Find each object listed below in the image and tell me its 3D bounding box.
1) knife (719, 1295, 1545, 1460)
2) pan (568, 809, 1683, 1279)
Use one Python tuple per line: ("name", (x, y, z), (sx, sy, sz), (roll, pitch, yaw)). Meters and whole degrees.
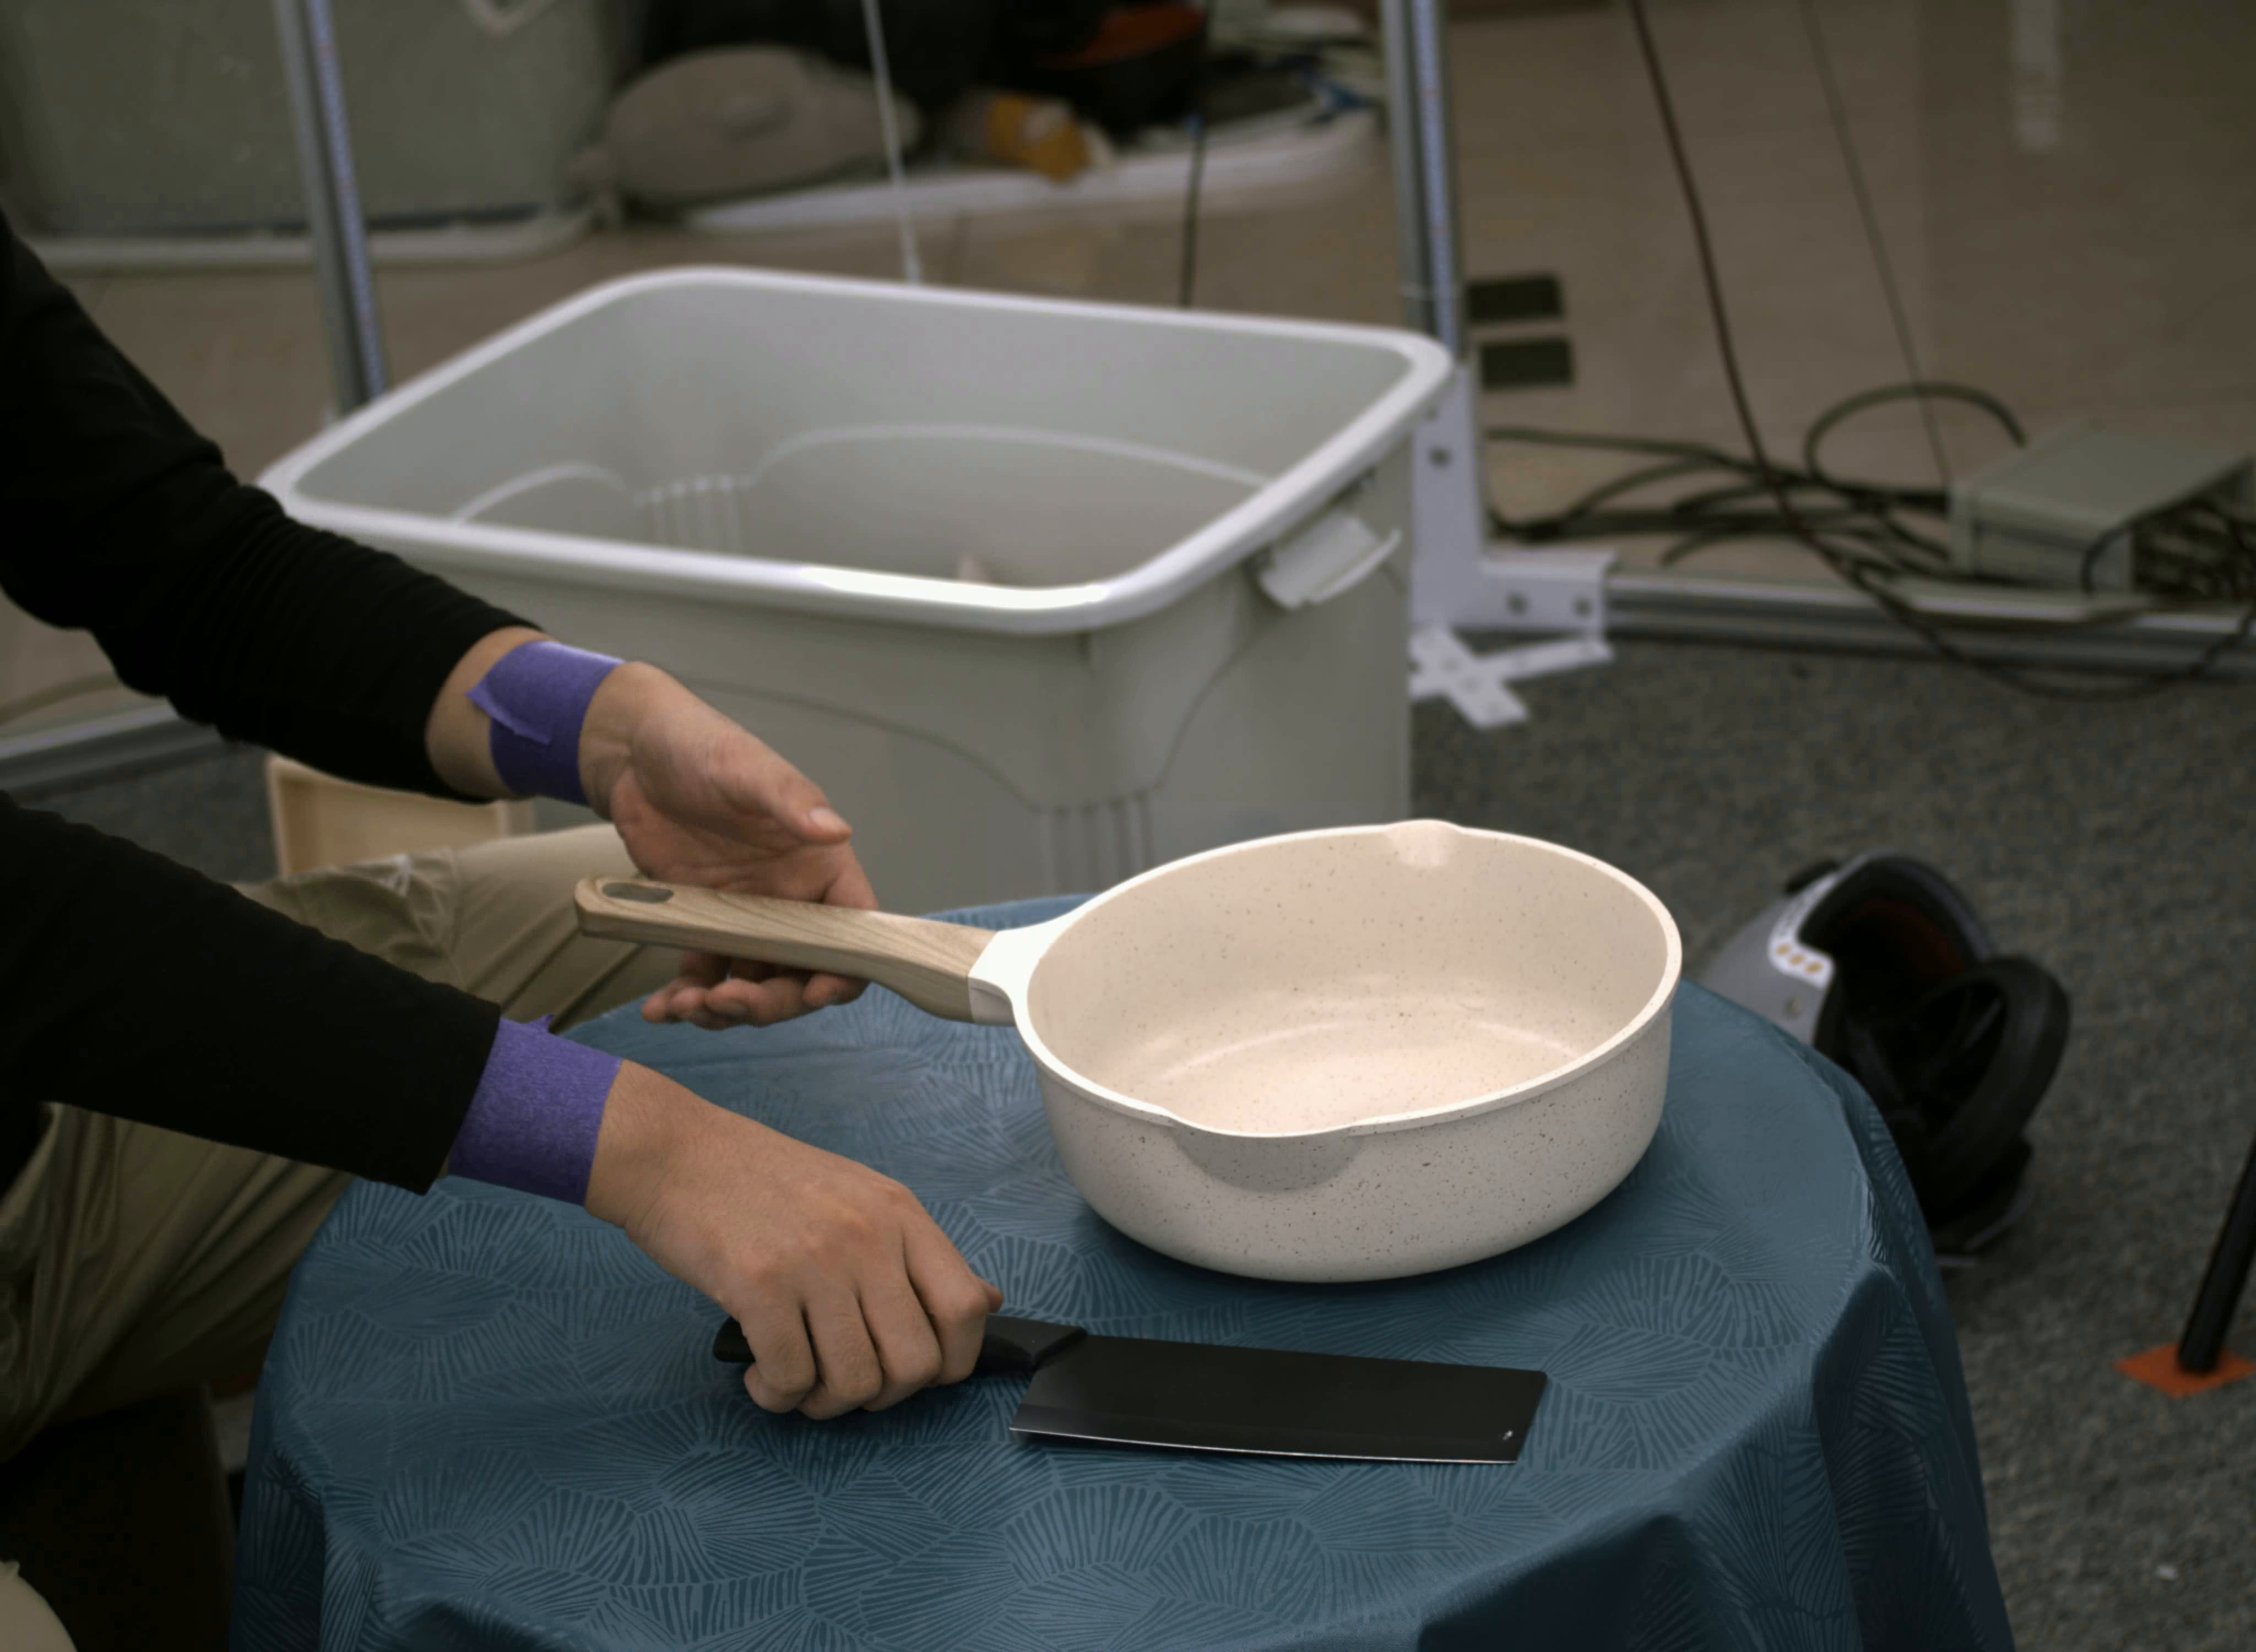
("knife", (-0.003, 0.196, 2.013), (0.301, 0.021, 0.080), (5, 27, 19))
("pan", (-0.003, 0.078, 2.163), (0.434, 0.103, 0.259), (2, 28, 17))
